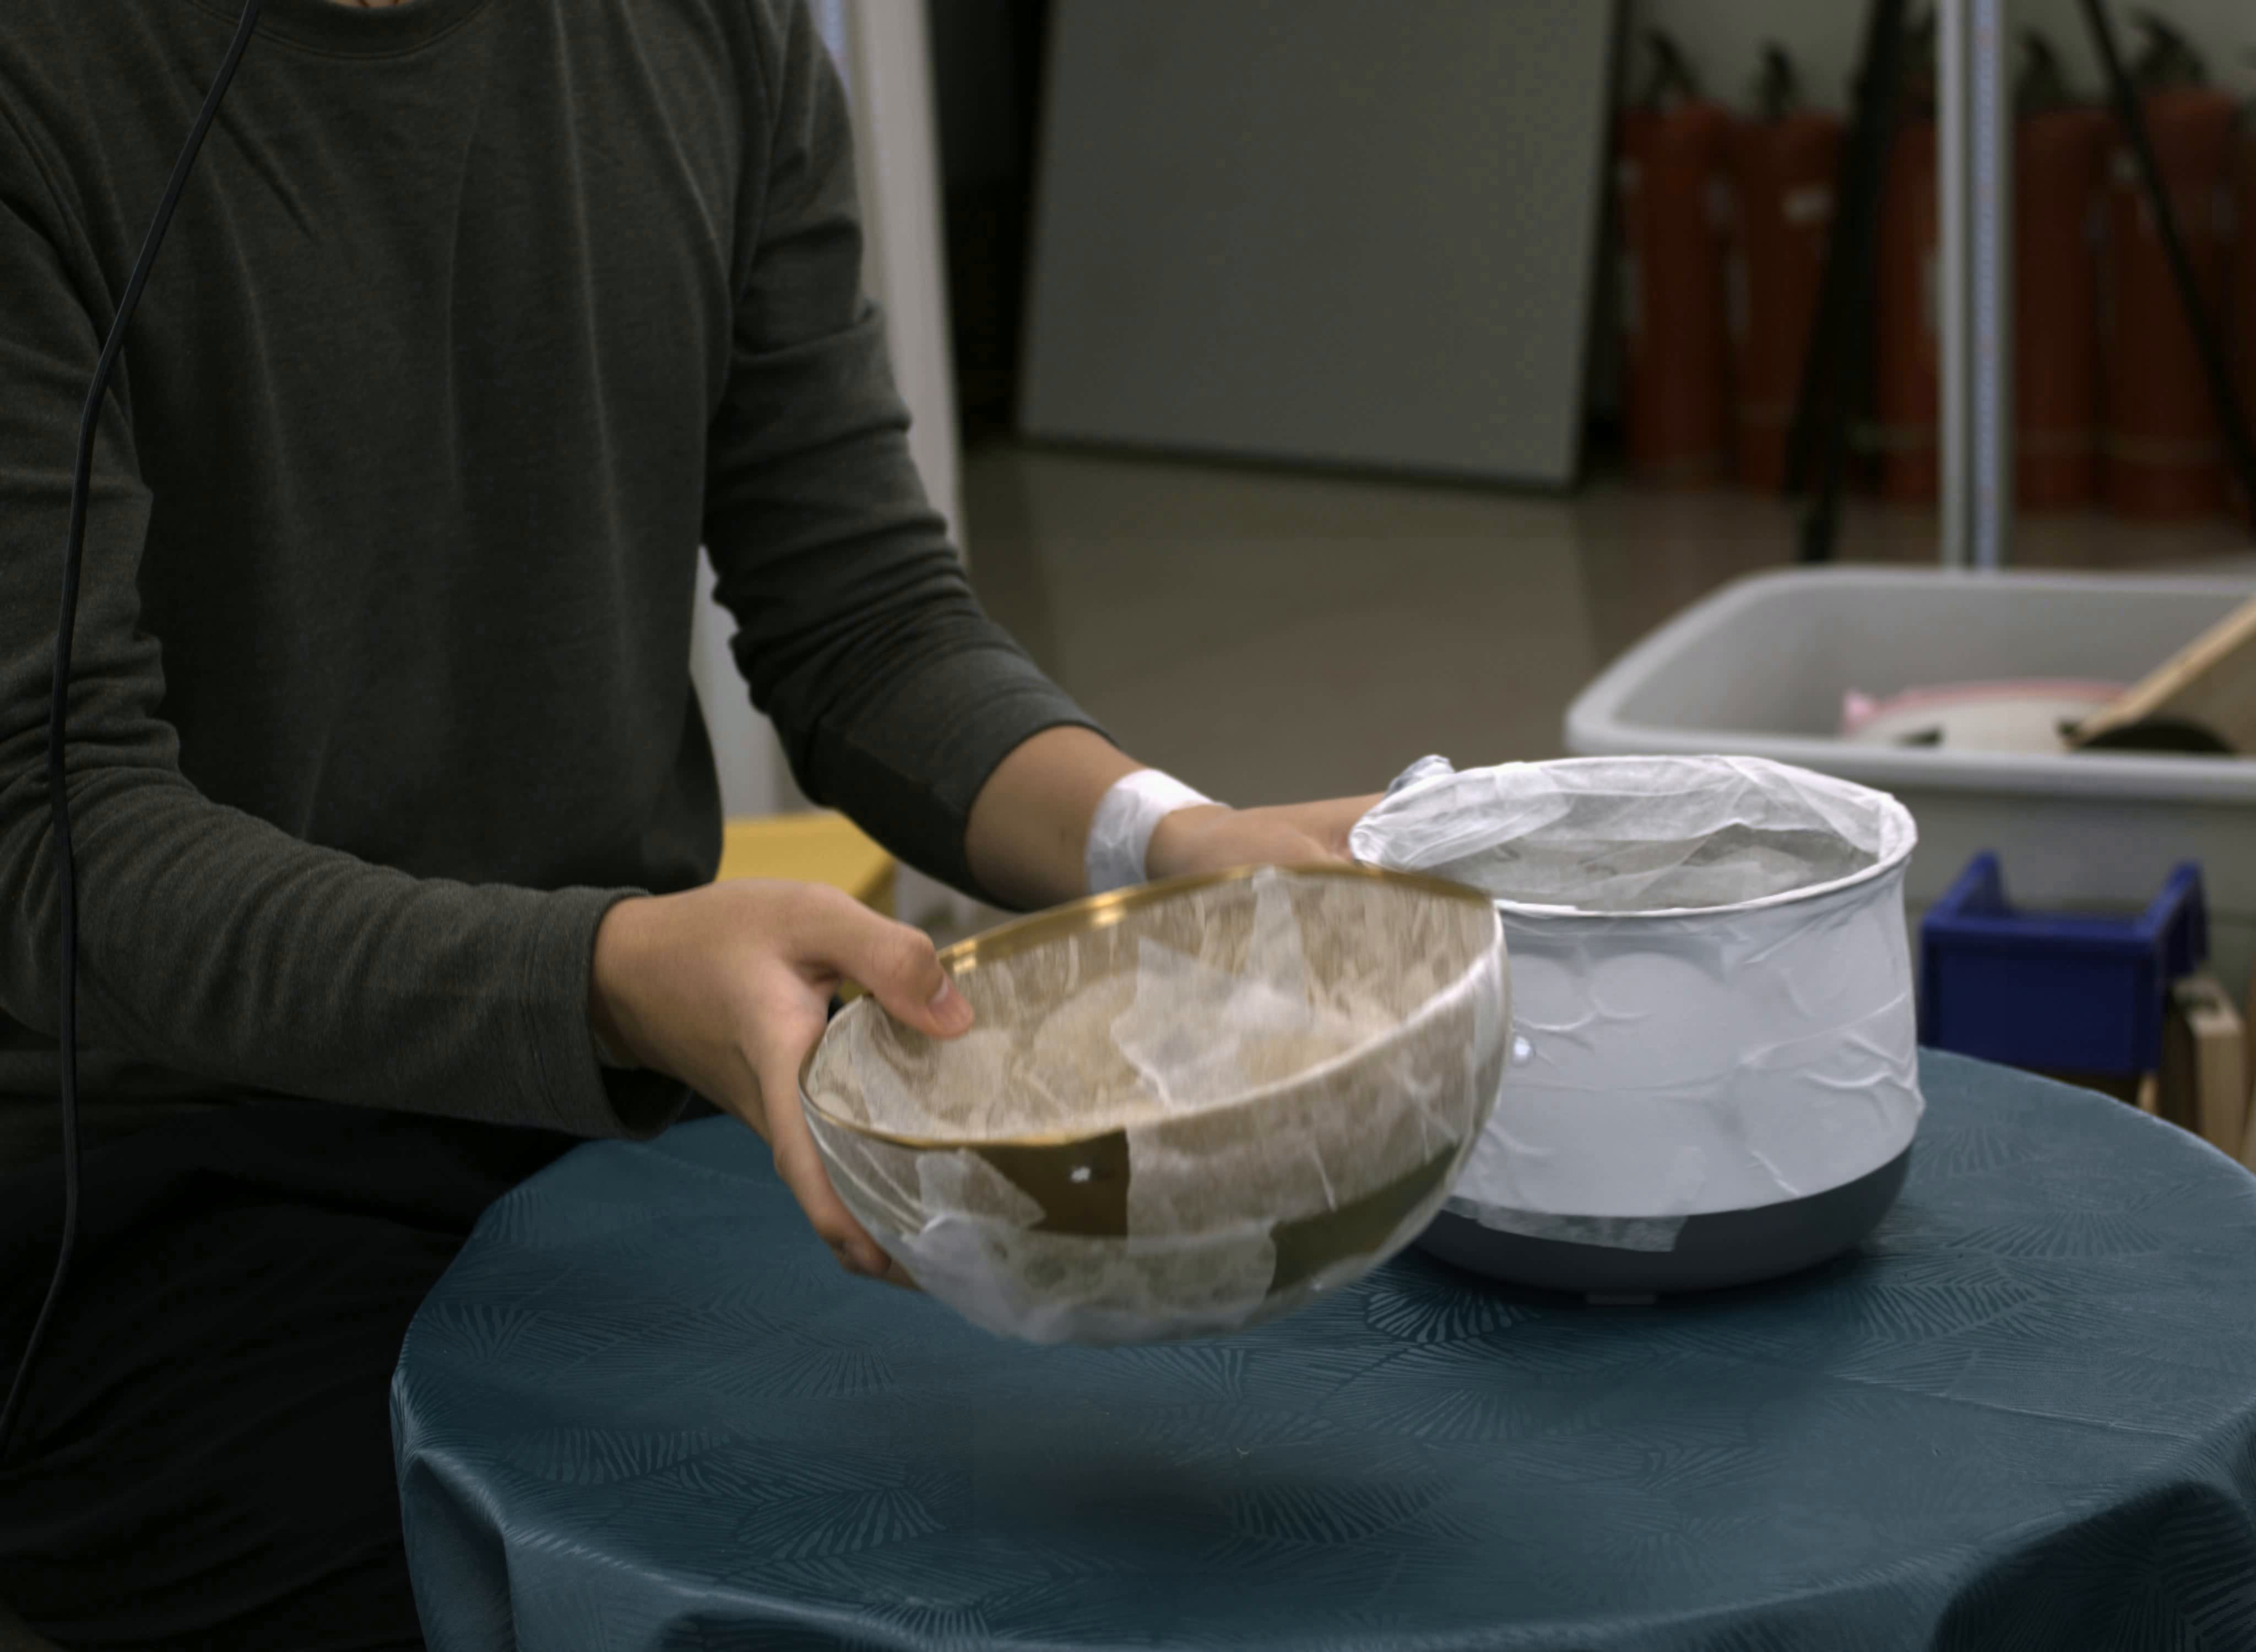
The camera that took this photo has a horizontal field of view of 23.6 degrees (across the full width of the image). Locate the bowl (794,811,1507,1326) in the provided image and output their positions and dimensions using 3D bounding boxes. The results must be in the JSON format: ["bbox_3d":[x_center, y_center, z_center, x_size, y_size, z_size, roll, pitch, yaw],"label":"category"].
[{"bbox_3d":[0.013,0.078,1.486,0.213,0.095,0.215,-16,16,4],"label":"bowl"}]

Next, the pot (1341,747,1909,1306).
[{"bbox_3d":[0.139,0.056,1.700,0.175,0.138,0.236,-13,18,-34],"label":"pot"}]
